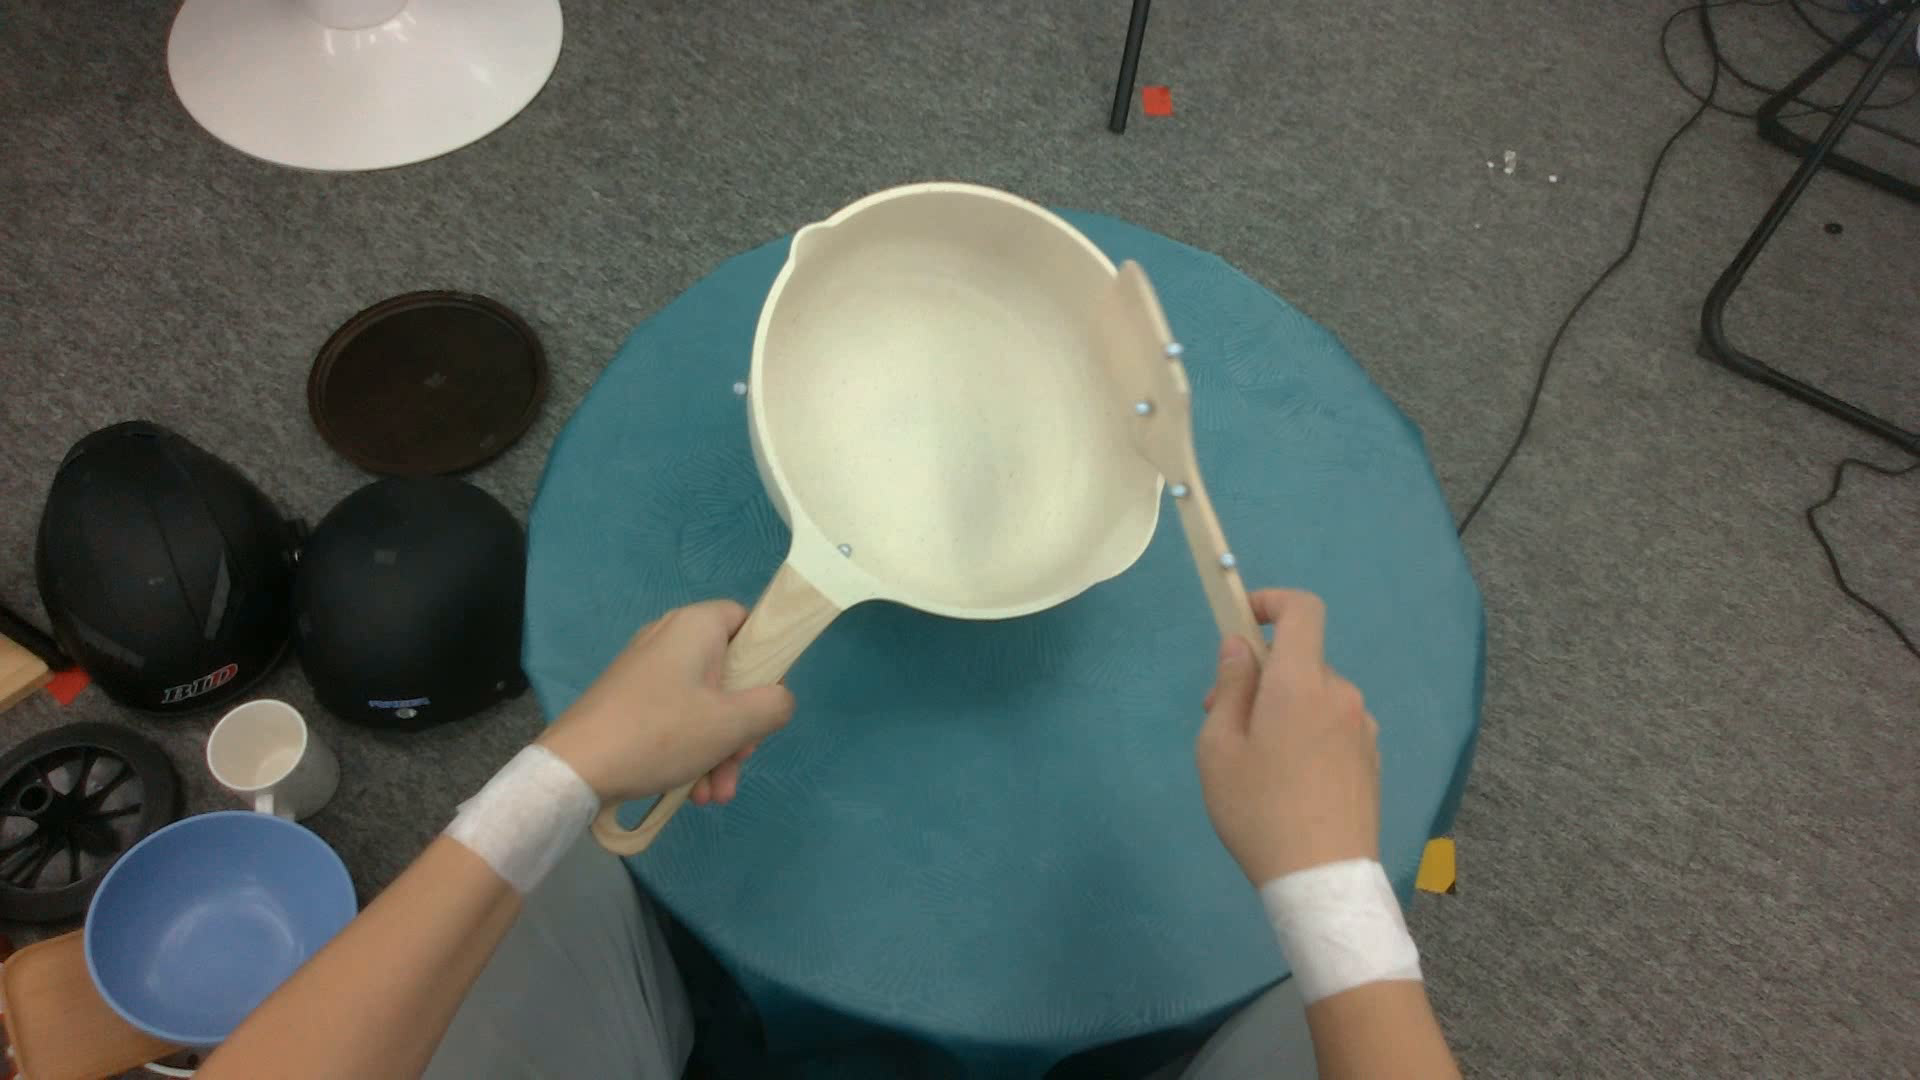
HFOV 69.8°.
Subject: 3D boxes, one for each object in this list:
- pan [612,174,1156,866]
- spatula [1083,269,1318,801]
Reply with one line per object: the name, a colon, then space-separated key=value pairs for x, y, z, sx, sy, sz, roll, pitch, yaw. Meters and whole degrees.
pan: x=-0.058 y=-0.010 z=0.772 sx=0.263 sy=0.101 sz=0.436 roll=40 pitch=70 yaw=-12
spatula: x=0.124 y=-0.006 z=0.712 sx=0.011 sy=0.072 sz=0.293 roll=-12 pitch=67 yaw=-18
